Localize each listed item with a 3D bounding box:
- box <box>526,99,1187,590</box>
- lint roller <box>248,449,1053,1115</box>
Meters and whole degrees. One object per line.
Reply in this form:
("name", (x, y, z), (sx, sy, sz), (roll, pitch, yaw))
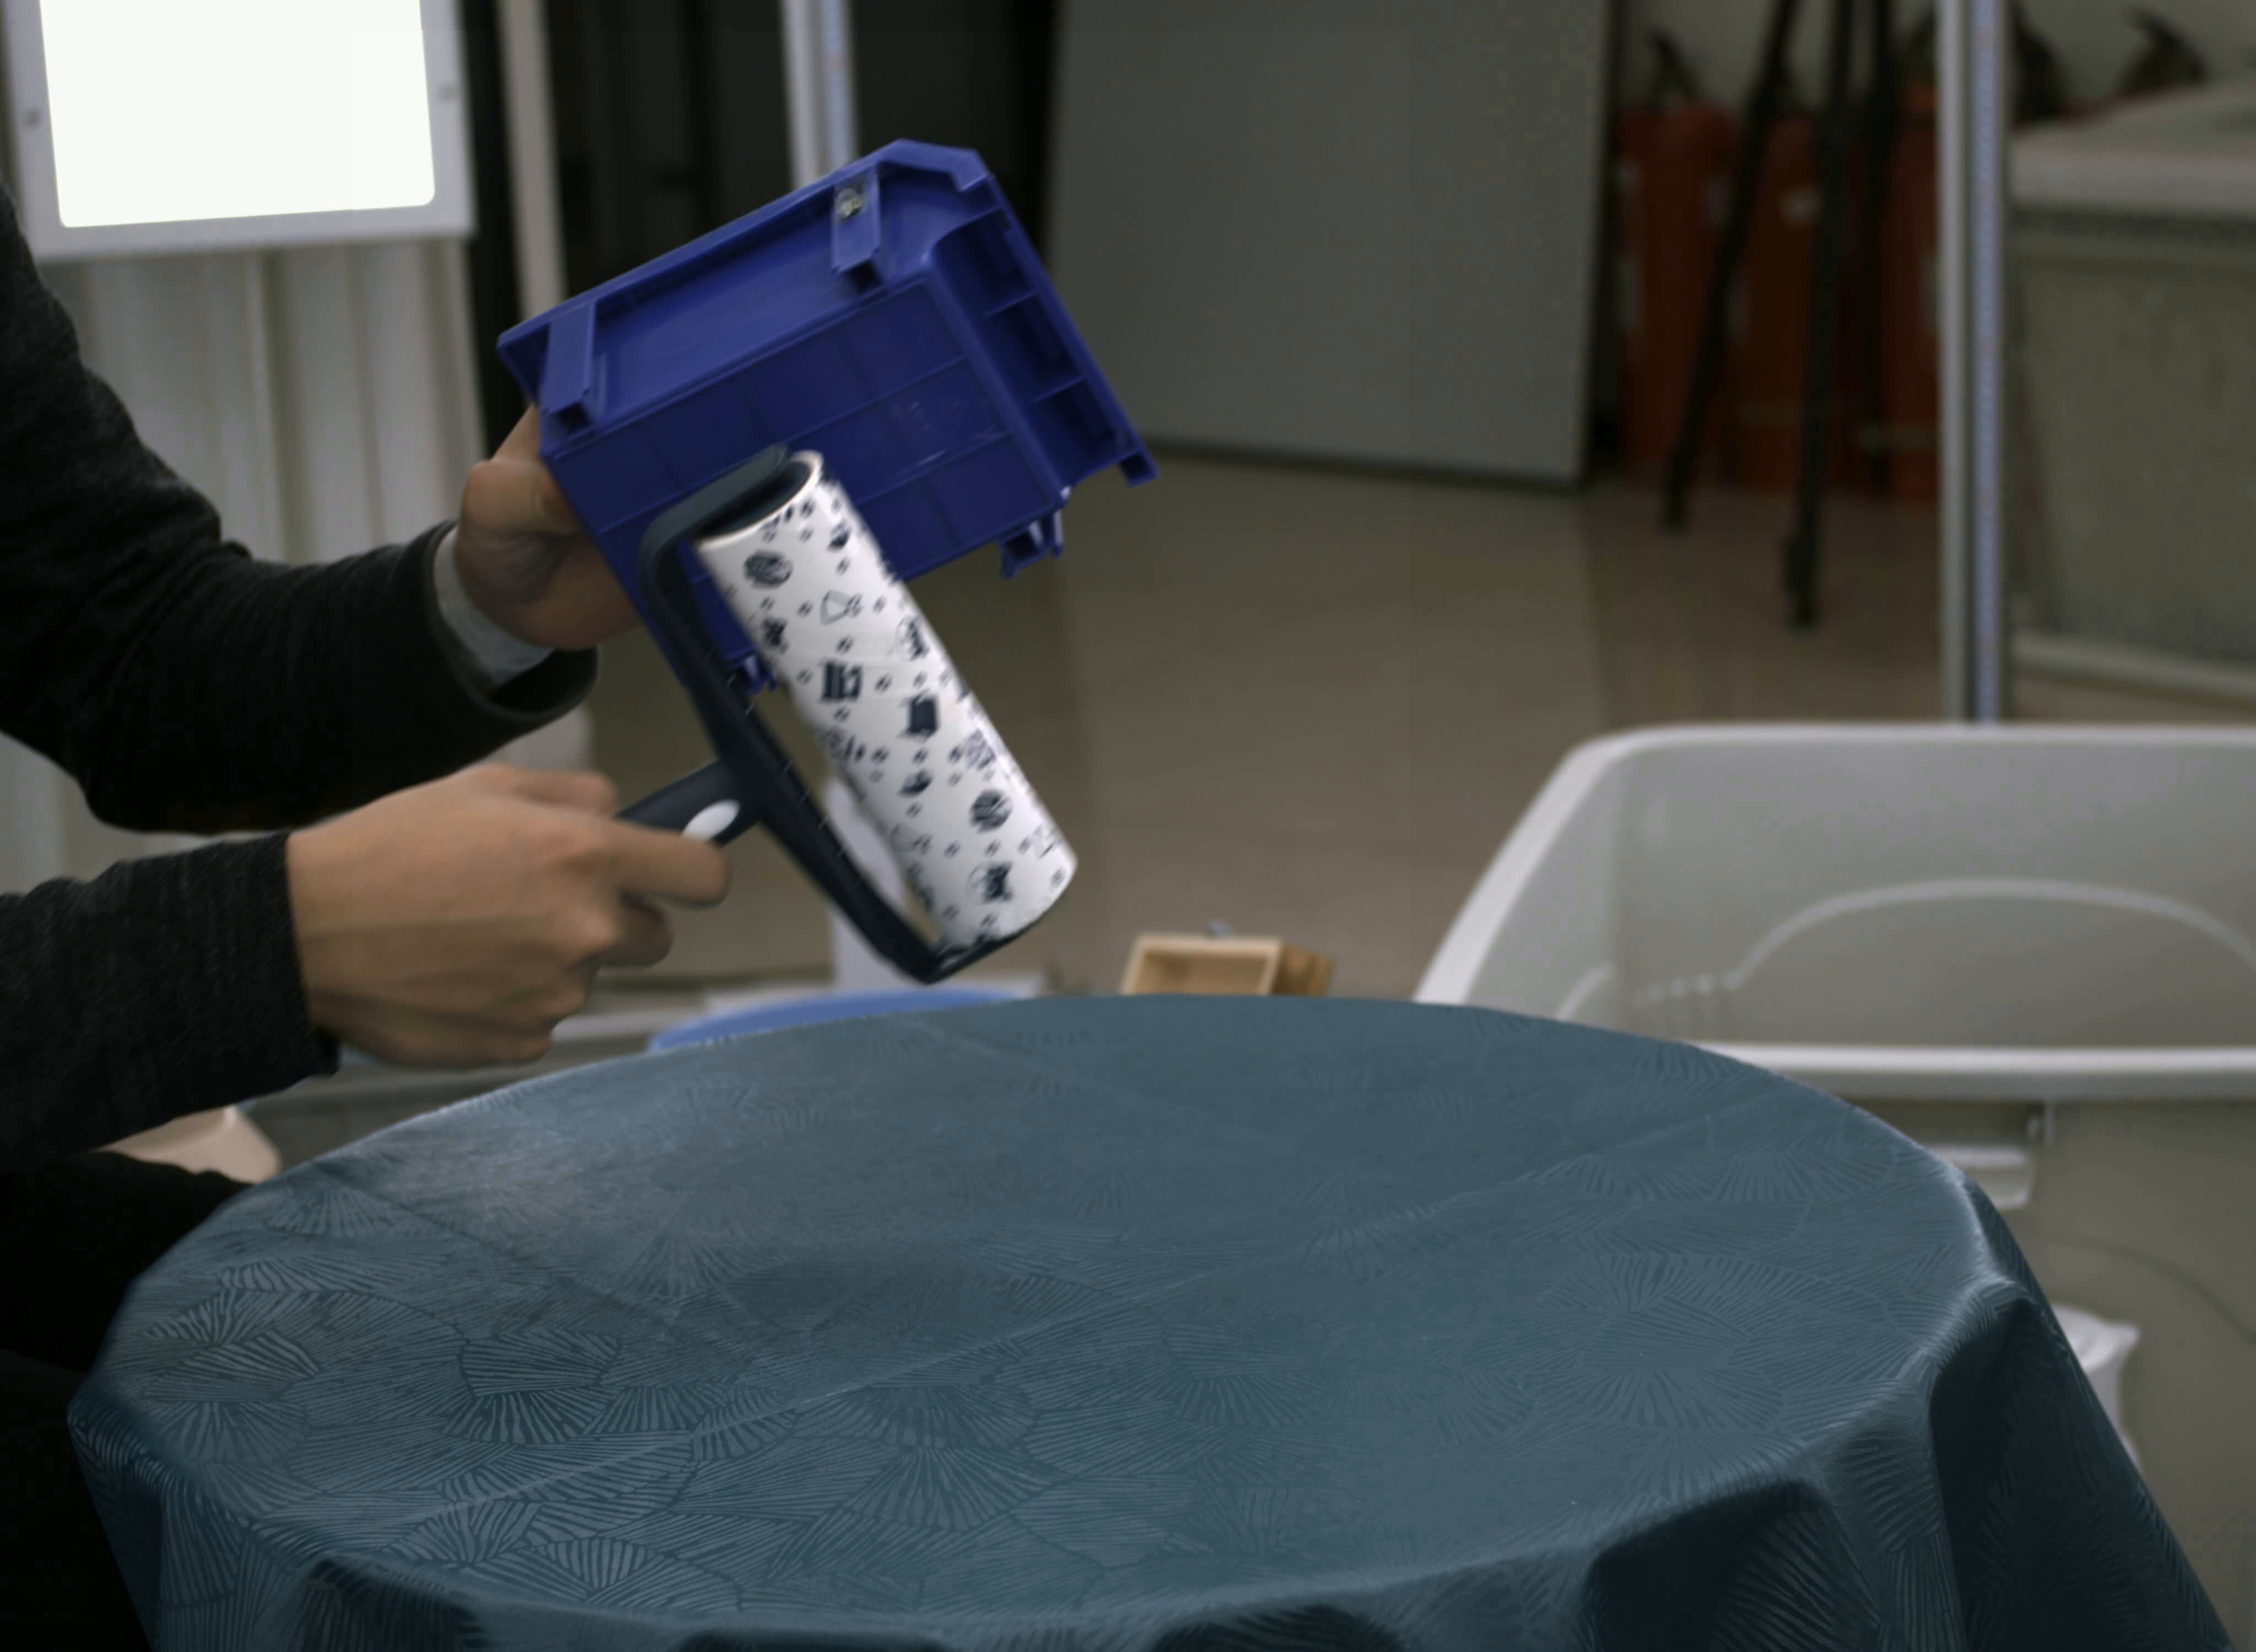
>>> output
("box", (-0.086, -0.140, 1.740), (0.179, 0.124, 0.082), (-27, 26, 10))
("lint roller", (-0.162, 0.020, 1.660), (0.245, 0.176, 0.051), (-34, 23, -1))
